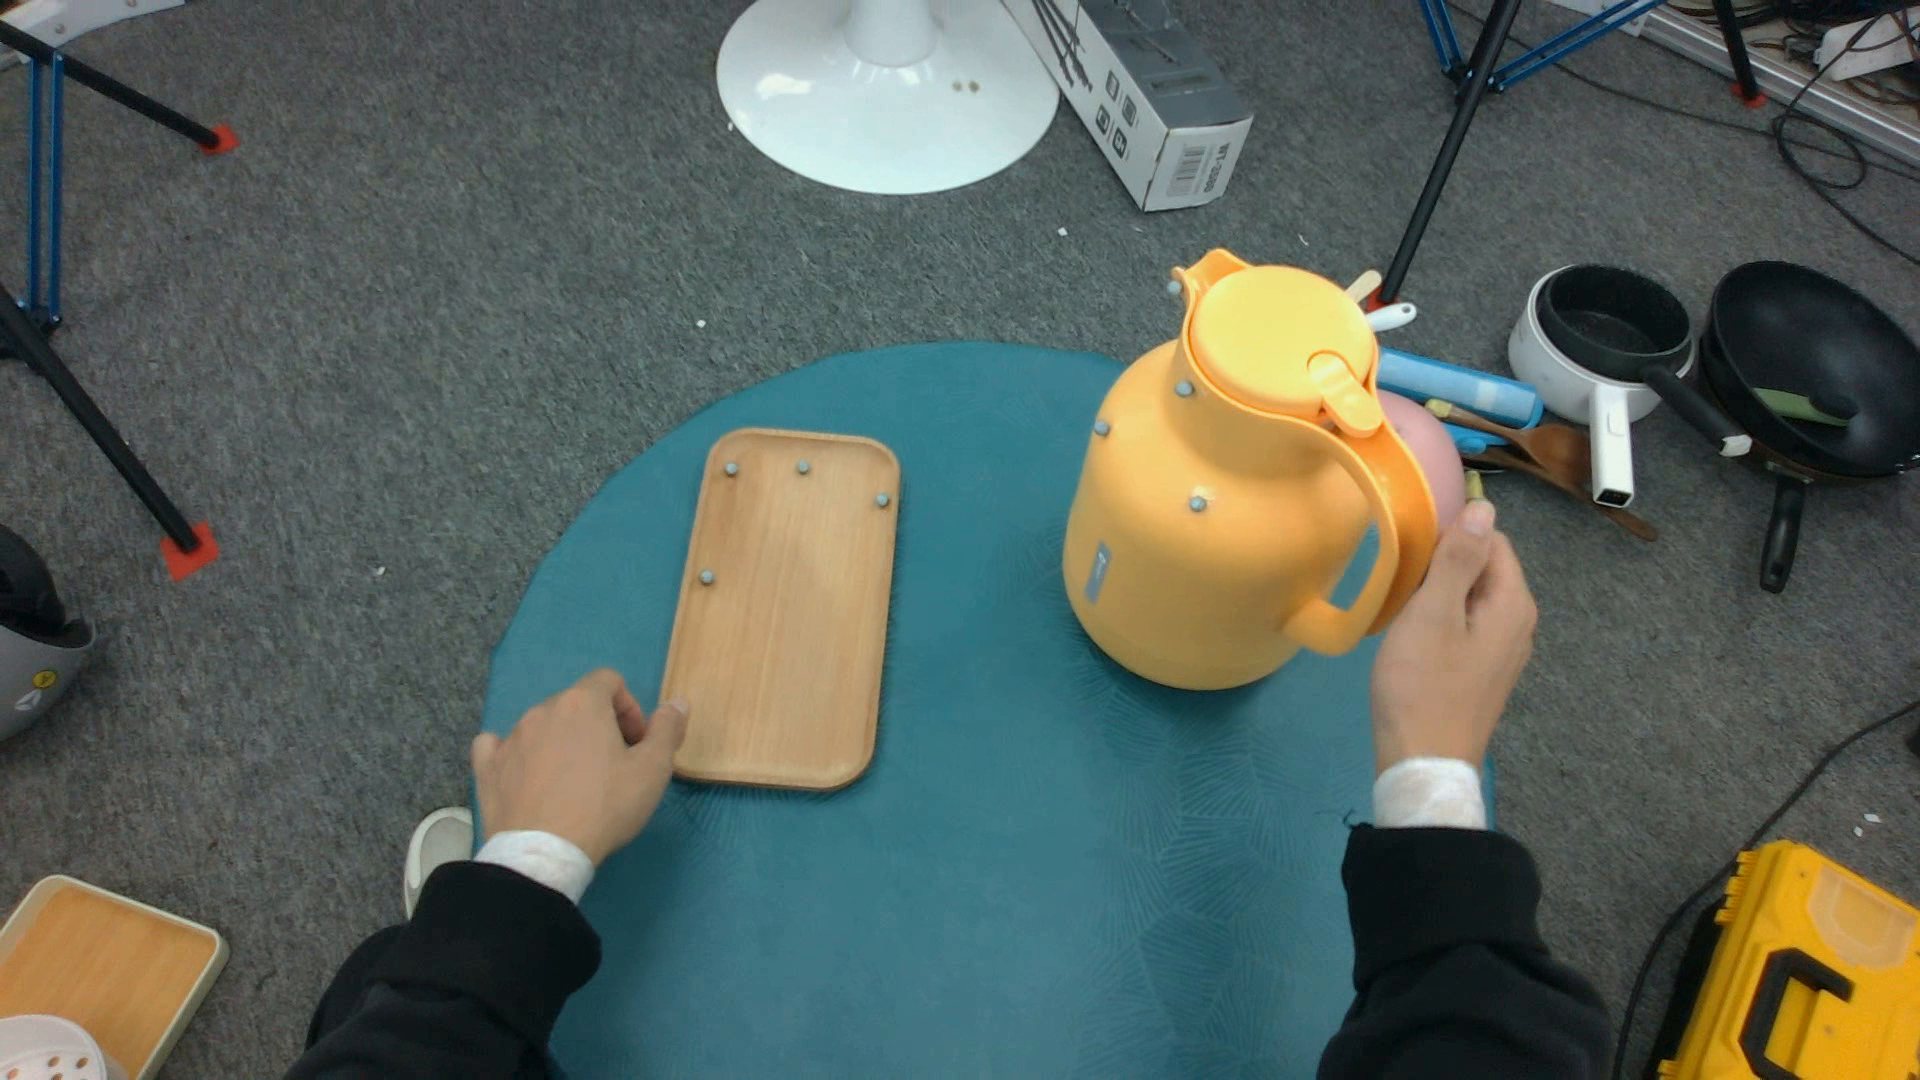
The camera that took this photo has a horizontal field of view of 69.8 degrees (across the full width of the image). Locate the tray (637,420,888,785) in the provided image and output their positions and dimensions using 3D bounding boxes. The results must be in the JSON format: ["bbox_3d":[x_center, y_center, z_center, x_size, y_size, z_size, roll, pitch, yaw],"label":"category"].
[{"bbox_3d":[-0.115,0.031,0.845,0.130,0.023,0.252,4,57,0],"label":"tray"}]

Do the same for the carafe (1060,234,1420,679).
[{"bbox_3d":[0.154,-0.028,0.762,0.164,0.259,0.203,-25,60,-17],"label":"carafe"}]
